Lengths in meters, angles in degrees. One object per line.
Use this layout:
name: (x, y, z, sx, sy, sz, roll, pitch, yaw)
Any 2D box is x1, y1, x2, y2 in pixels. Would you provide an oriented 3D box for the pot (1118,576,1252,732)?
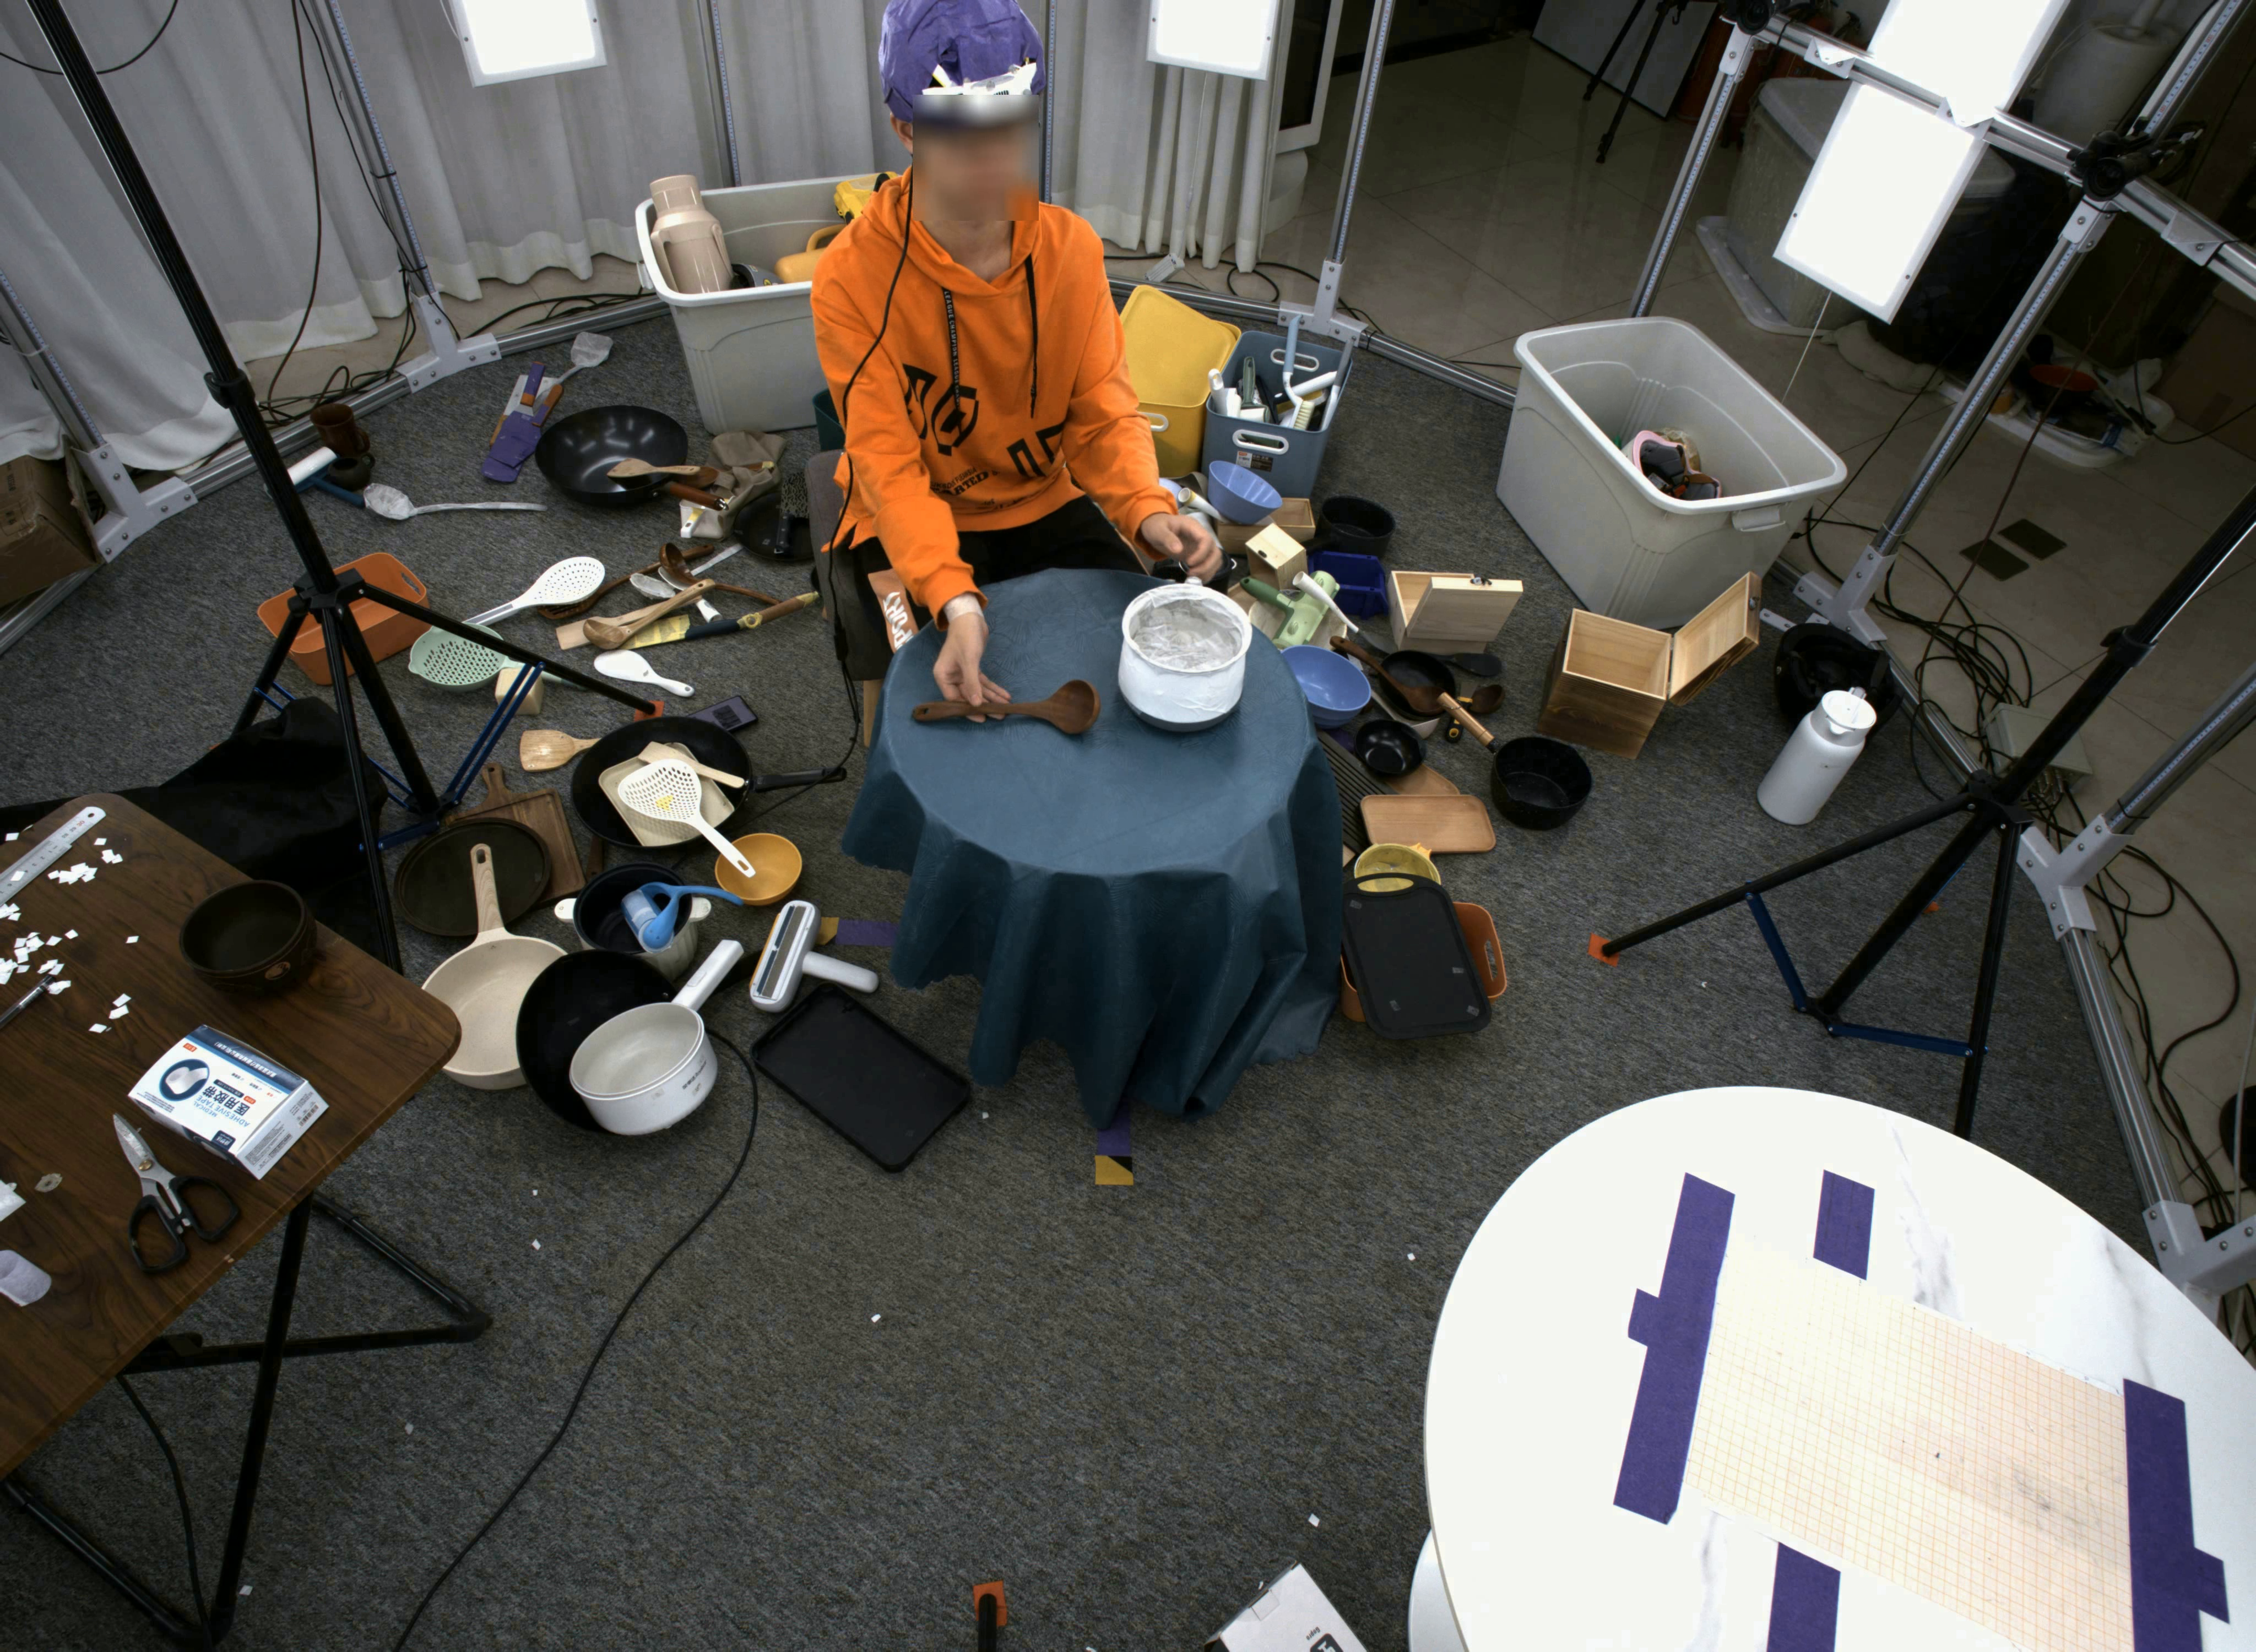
pot: (0.079, -0.251, 1.803, 0.178, 0.133, 0.239, 7, 49, 1)

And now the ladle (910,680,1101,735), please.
ladle: (-0.167, -0.162, 1.759, 0.260, 0.064, 0.077, 0, 73, -5)
